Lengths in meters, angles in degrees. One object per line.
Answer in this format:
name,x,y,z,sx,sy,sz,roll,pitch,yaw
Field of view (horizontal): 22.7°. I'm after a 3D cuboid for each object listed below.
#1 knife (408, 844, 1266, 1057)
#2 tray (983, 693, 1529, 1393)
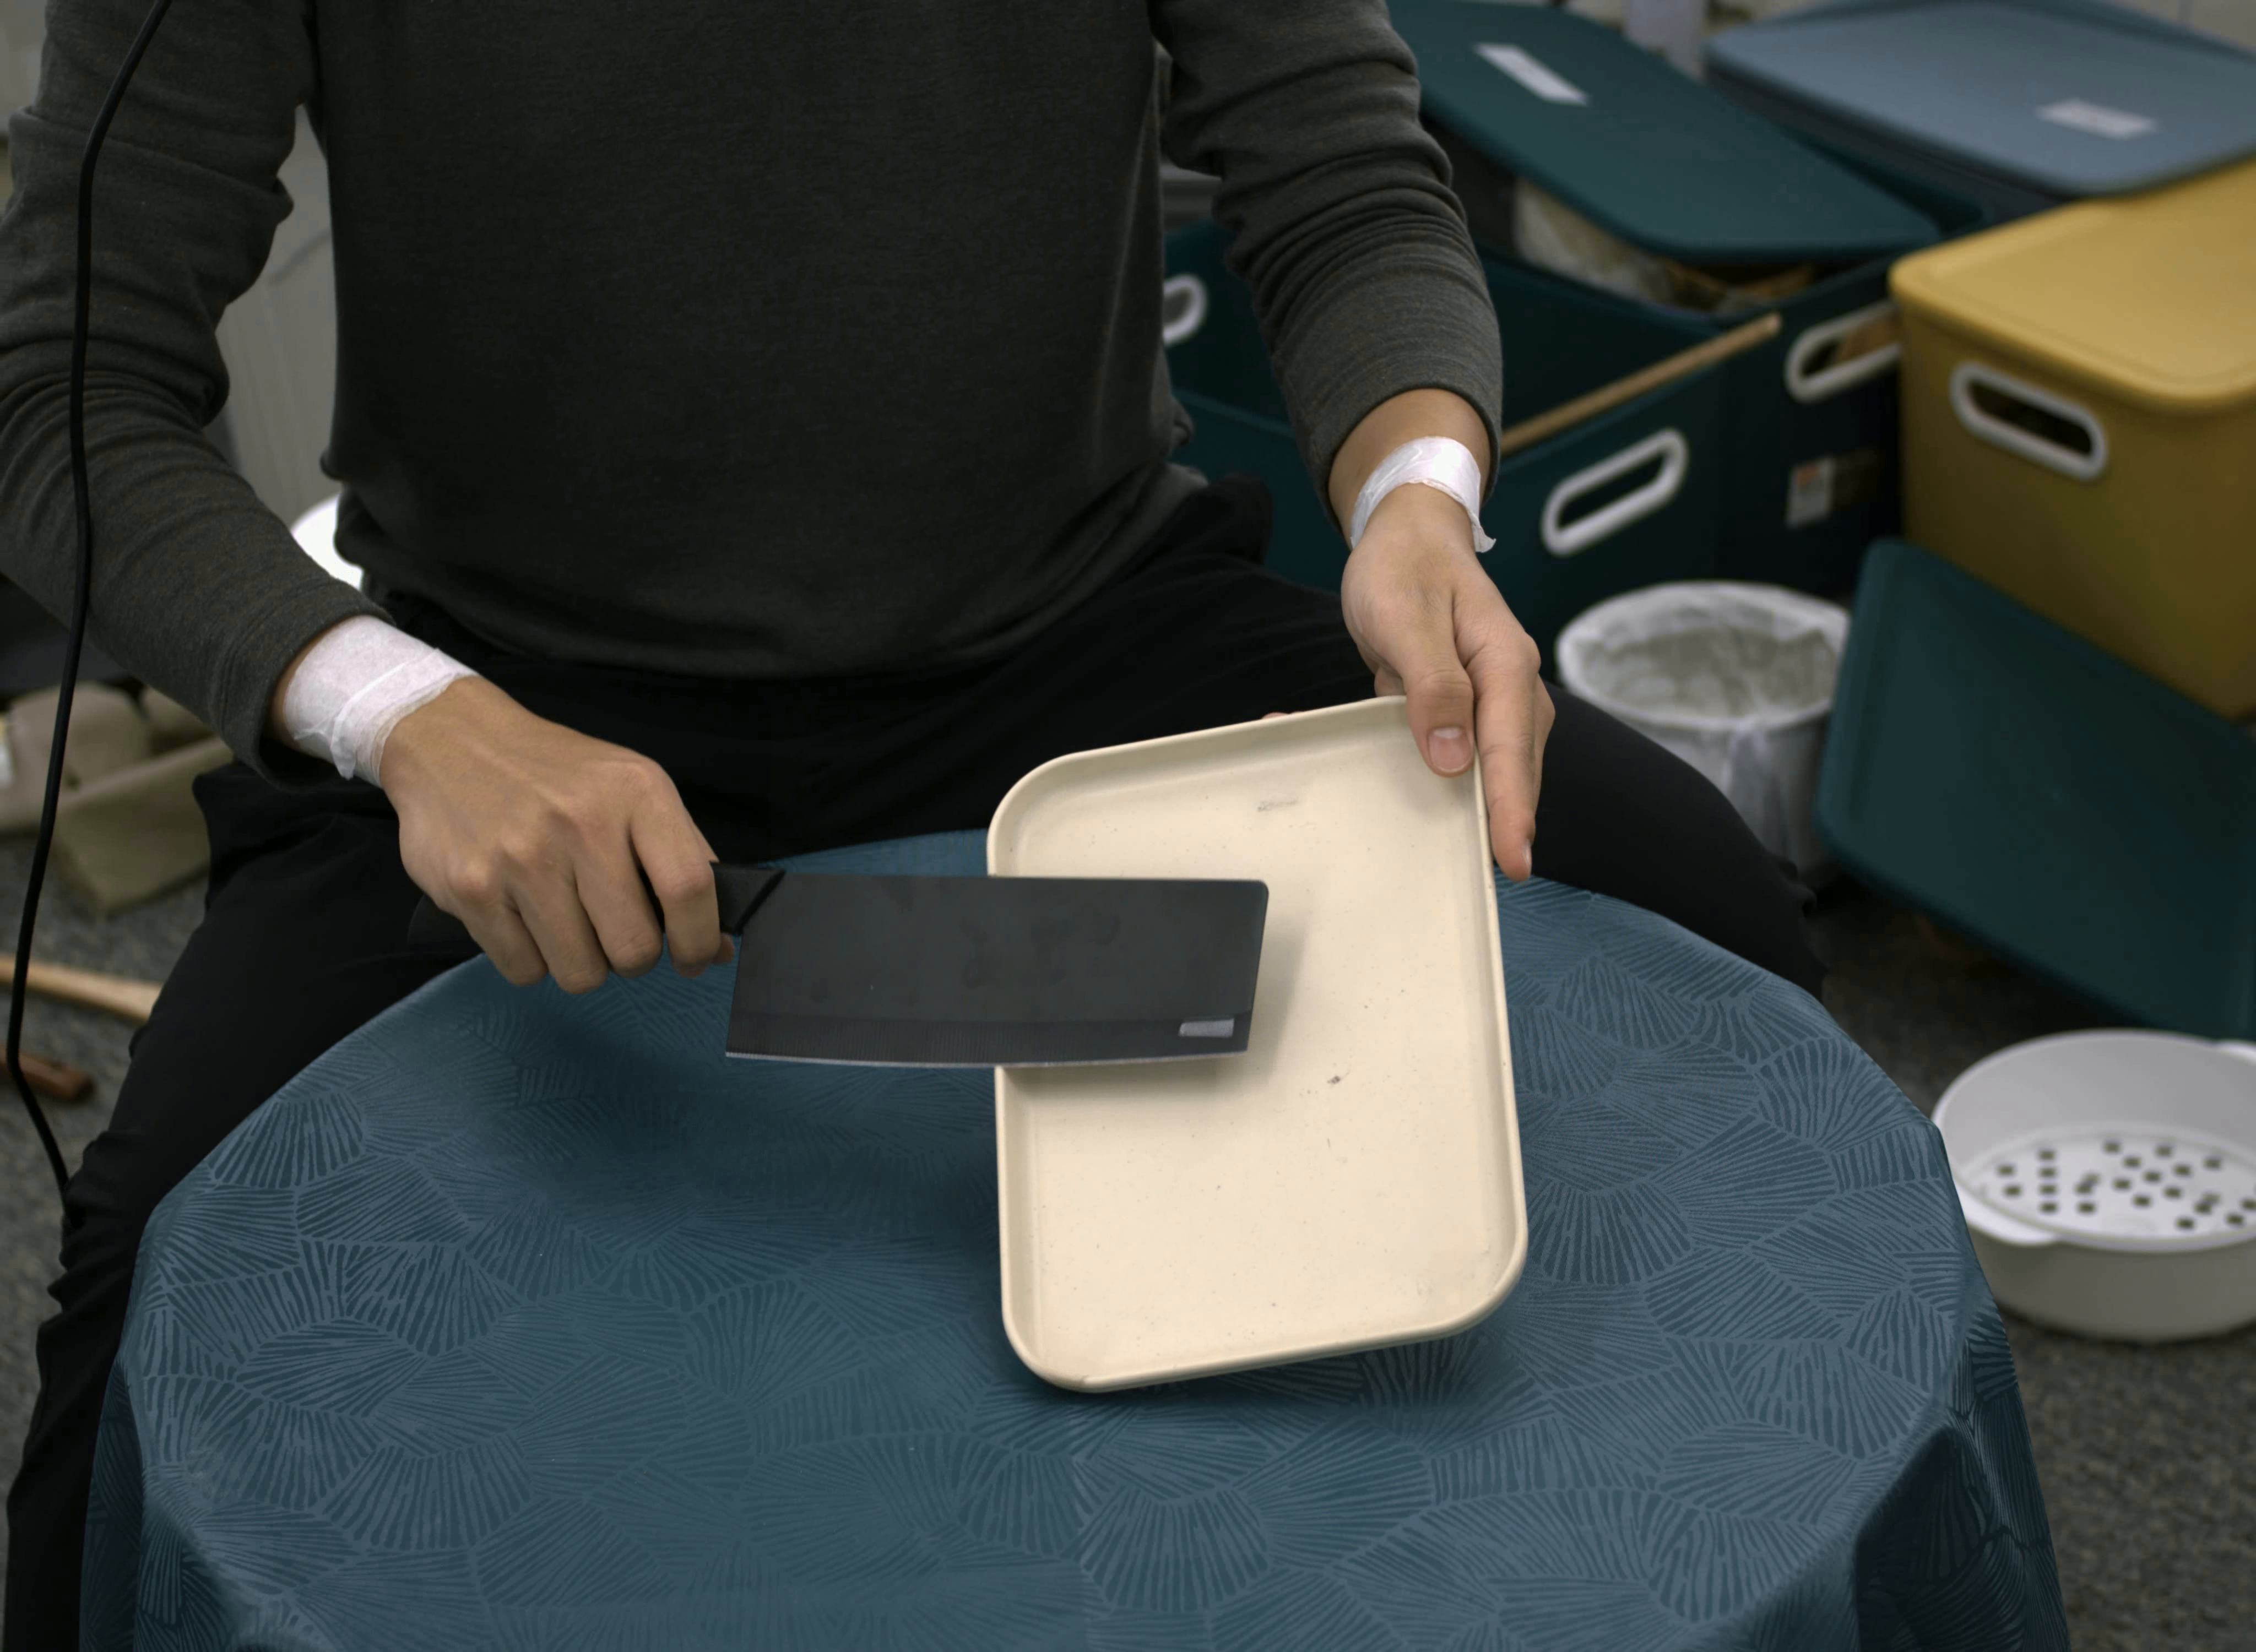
knife,-0.099,0.040,1.853,0.300,0.020,0.082,5,66,19
tray,0.039,0.069,1.808,0.170,0.017,0.244,-9,55,9
